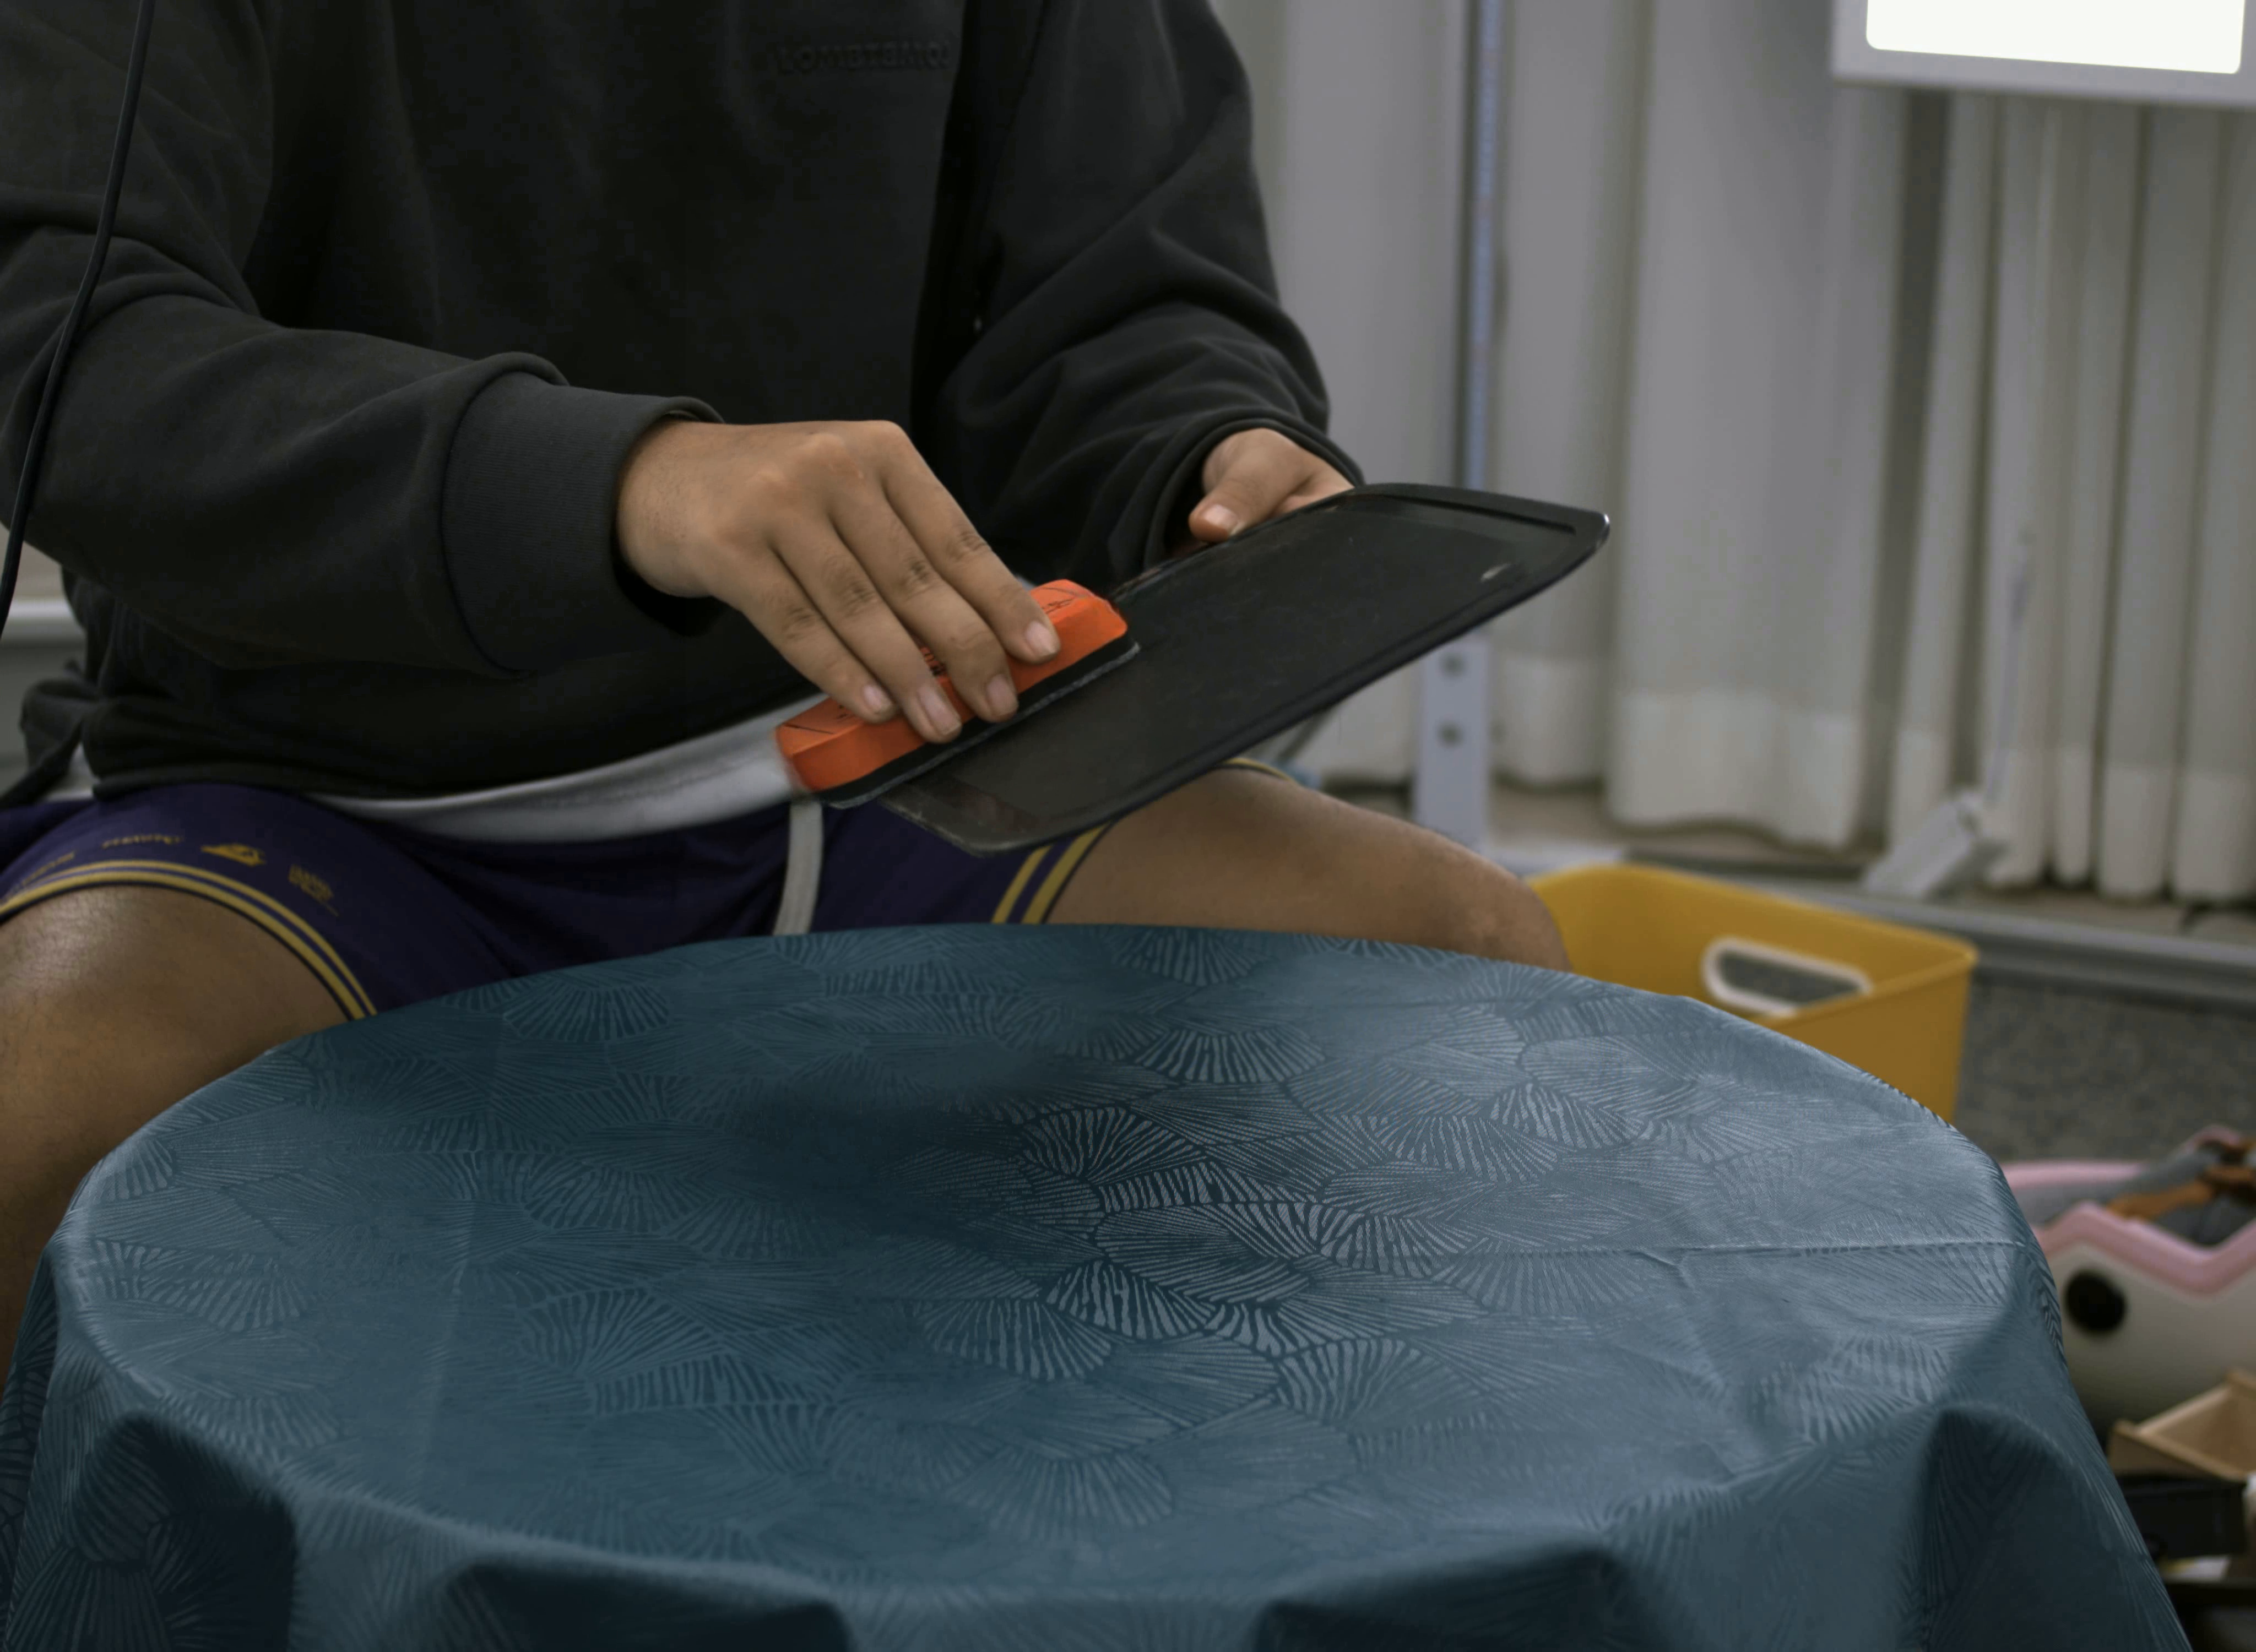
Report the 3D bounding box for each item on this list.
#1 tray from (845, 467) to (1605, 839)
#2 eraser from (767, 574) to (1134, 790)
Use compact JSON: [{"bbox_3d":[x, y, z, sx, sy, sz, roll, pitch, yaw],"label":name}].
[{"bbox_3d":[0.012,-0.058,1.608,0.211,0.010,0.323,-28,13,-11],"label":"tray"},{"bbox_3d":[-0.055,-0.045,1.612,0.108,0.023,0.058,-27,14,-18],"label":"eraser"}]
